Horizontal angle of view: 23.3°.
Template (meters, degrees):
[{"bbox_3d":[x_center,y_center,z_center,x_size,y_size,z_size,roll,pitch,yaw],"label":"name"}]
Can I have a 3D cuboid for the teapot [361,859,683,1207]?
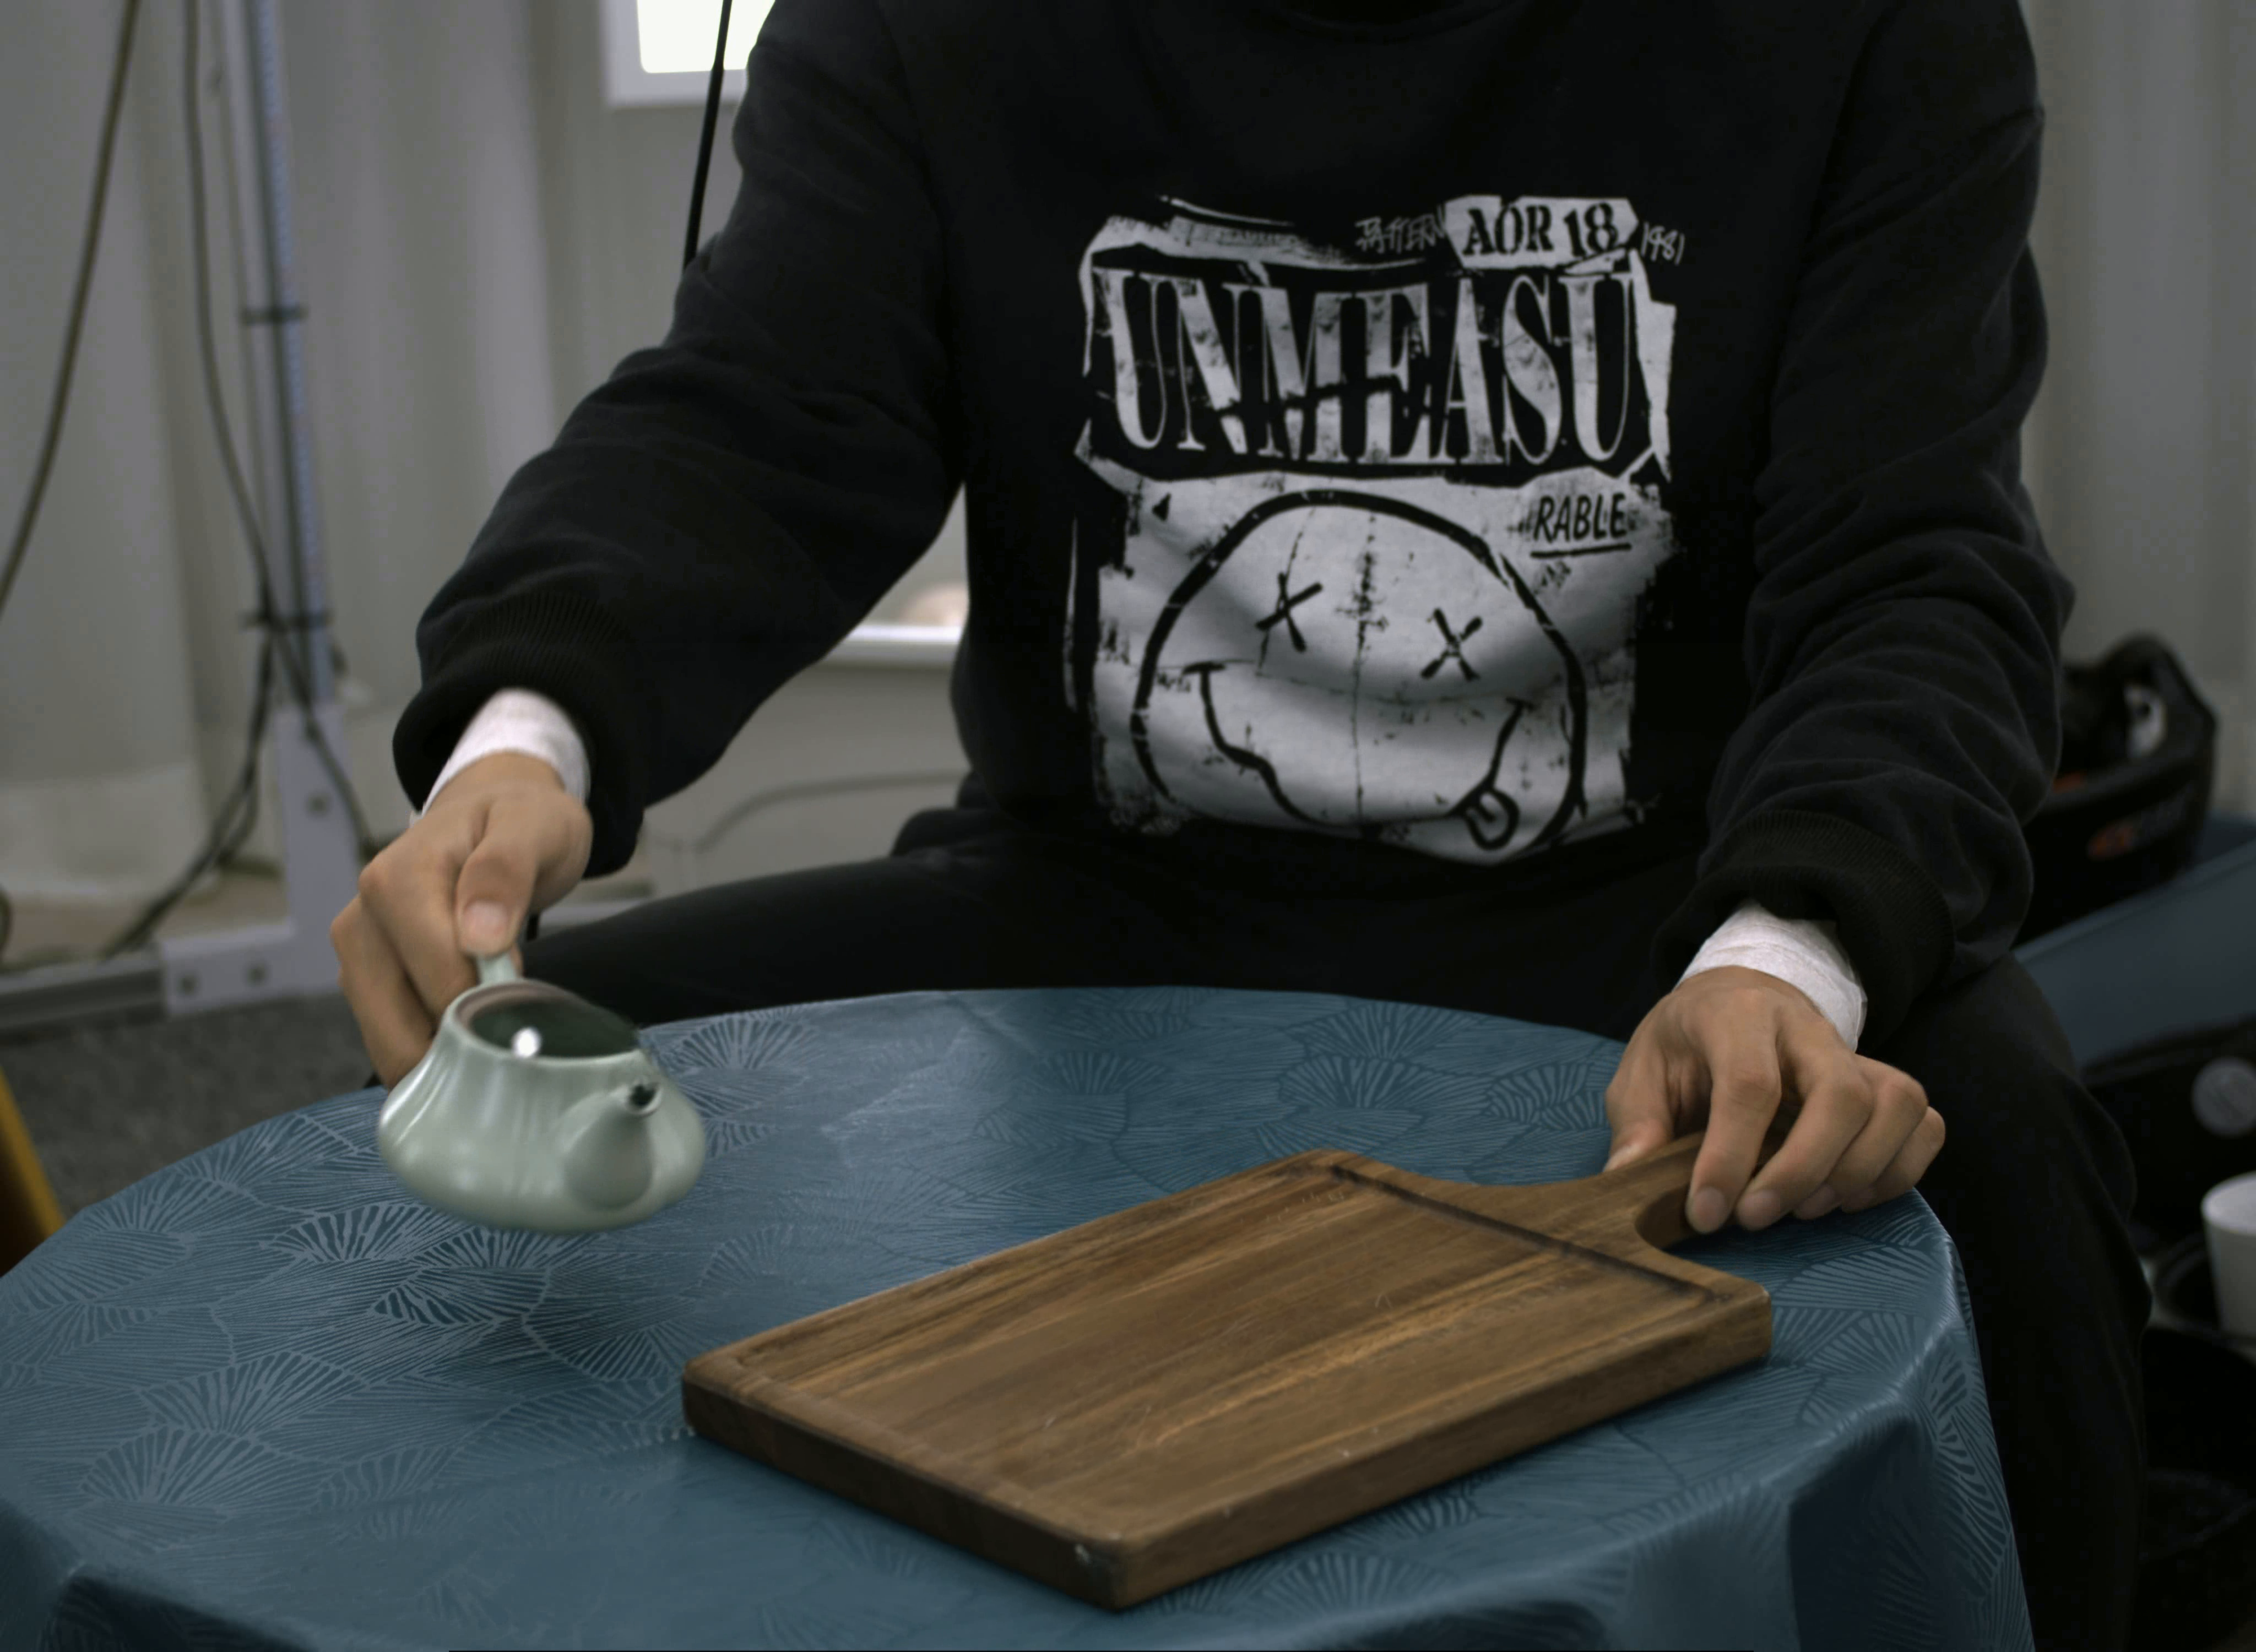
[{"bbox_3d":[-0.174,0.065,1.593,0.095,0.061,0.139,15,23,-39],"label":"teapot"}]

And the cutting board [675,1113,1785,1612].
[{"bbox_3d":[0.065,0.138,1.564,0.351,0.023,0.202,-16,20,-38],"label":"cutting board"}]
